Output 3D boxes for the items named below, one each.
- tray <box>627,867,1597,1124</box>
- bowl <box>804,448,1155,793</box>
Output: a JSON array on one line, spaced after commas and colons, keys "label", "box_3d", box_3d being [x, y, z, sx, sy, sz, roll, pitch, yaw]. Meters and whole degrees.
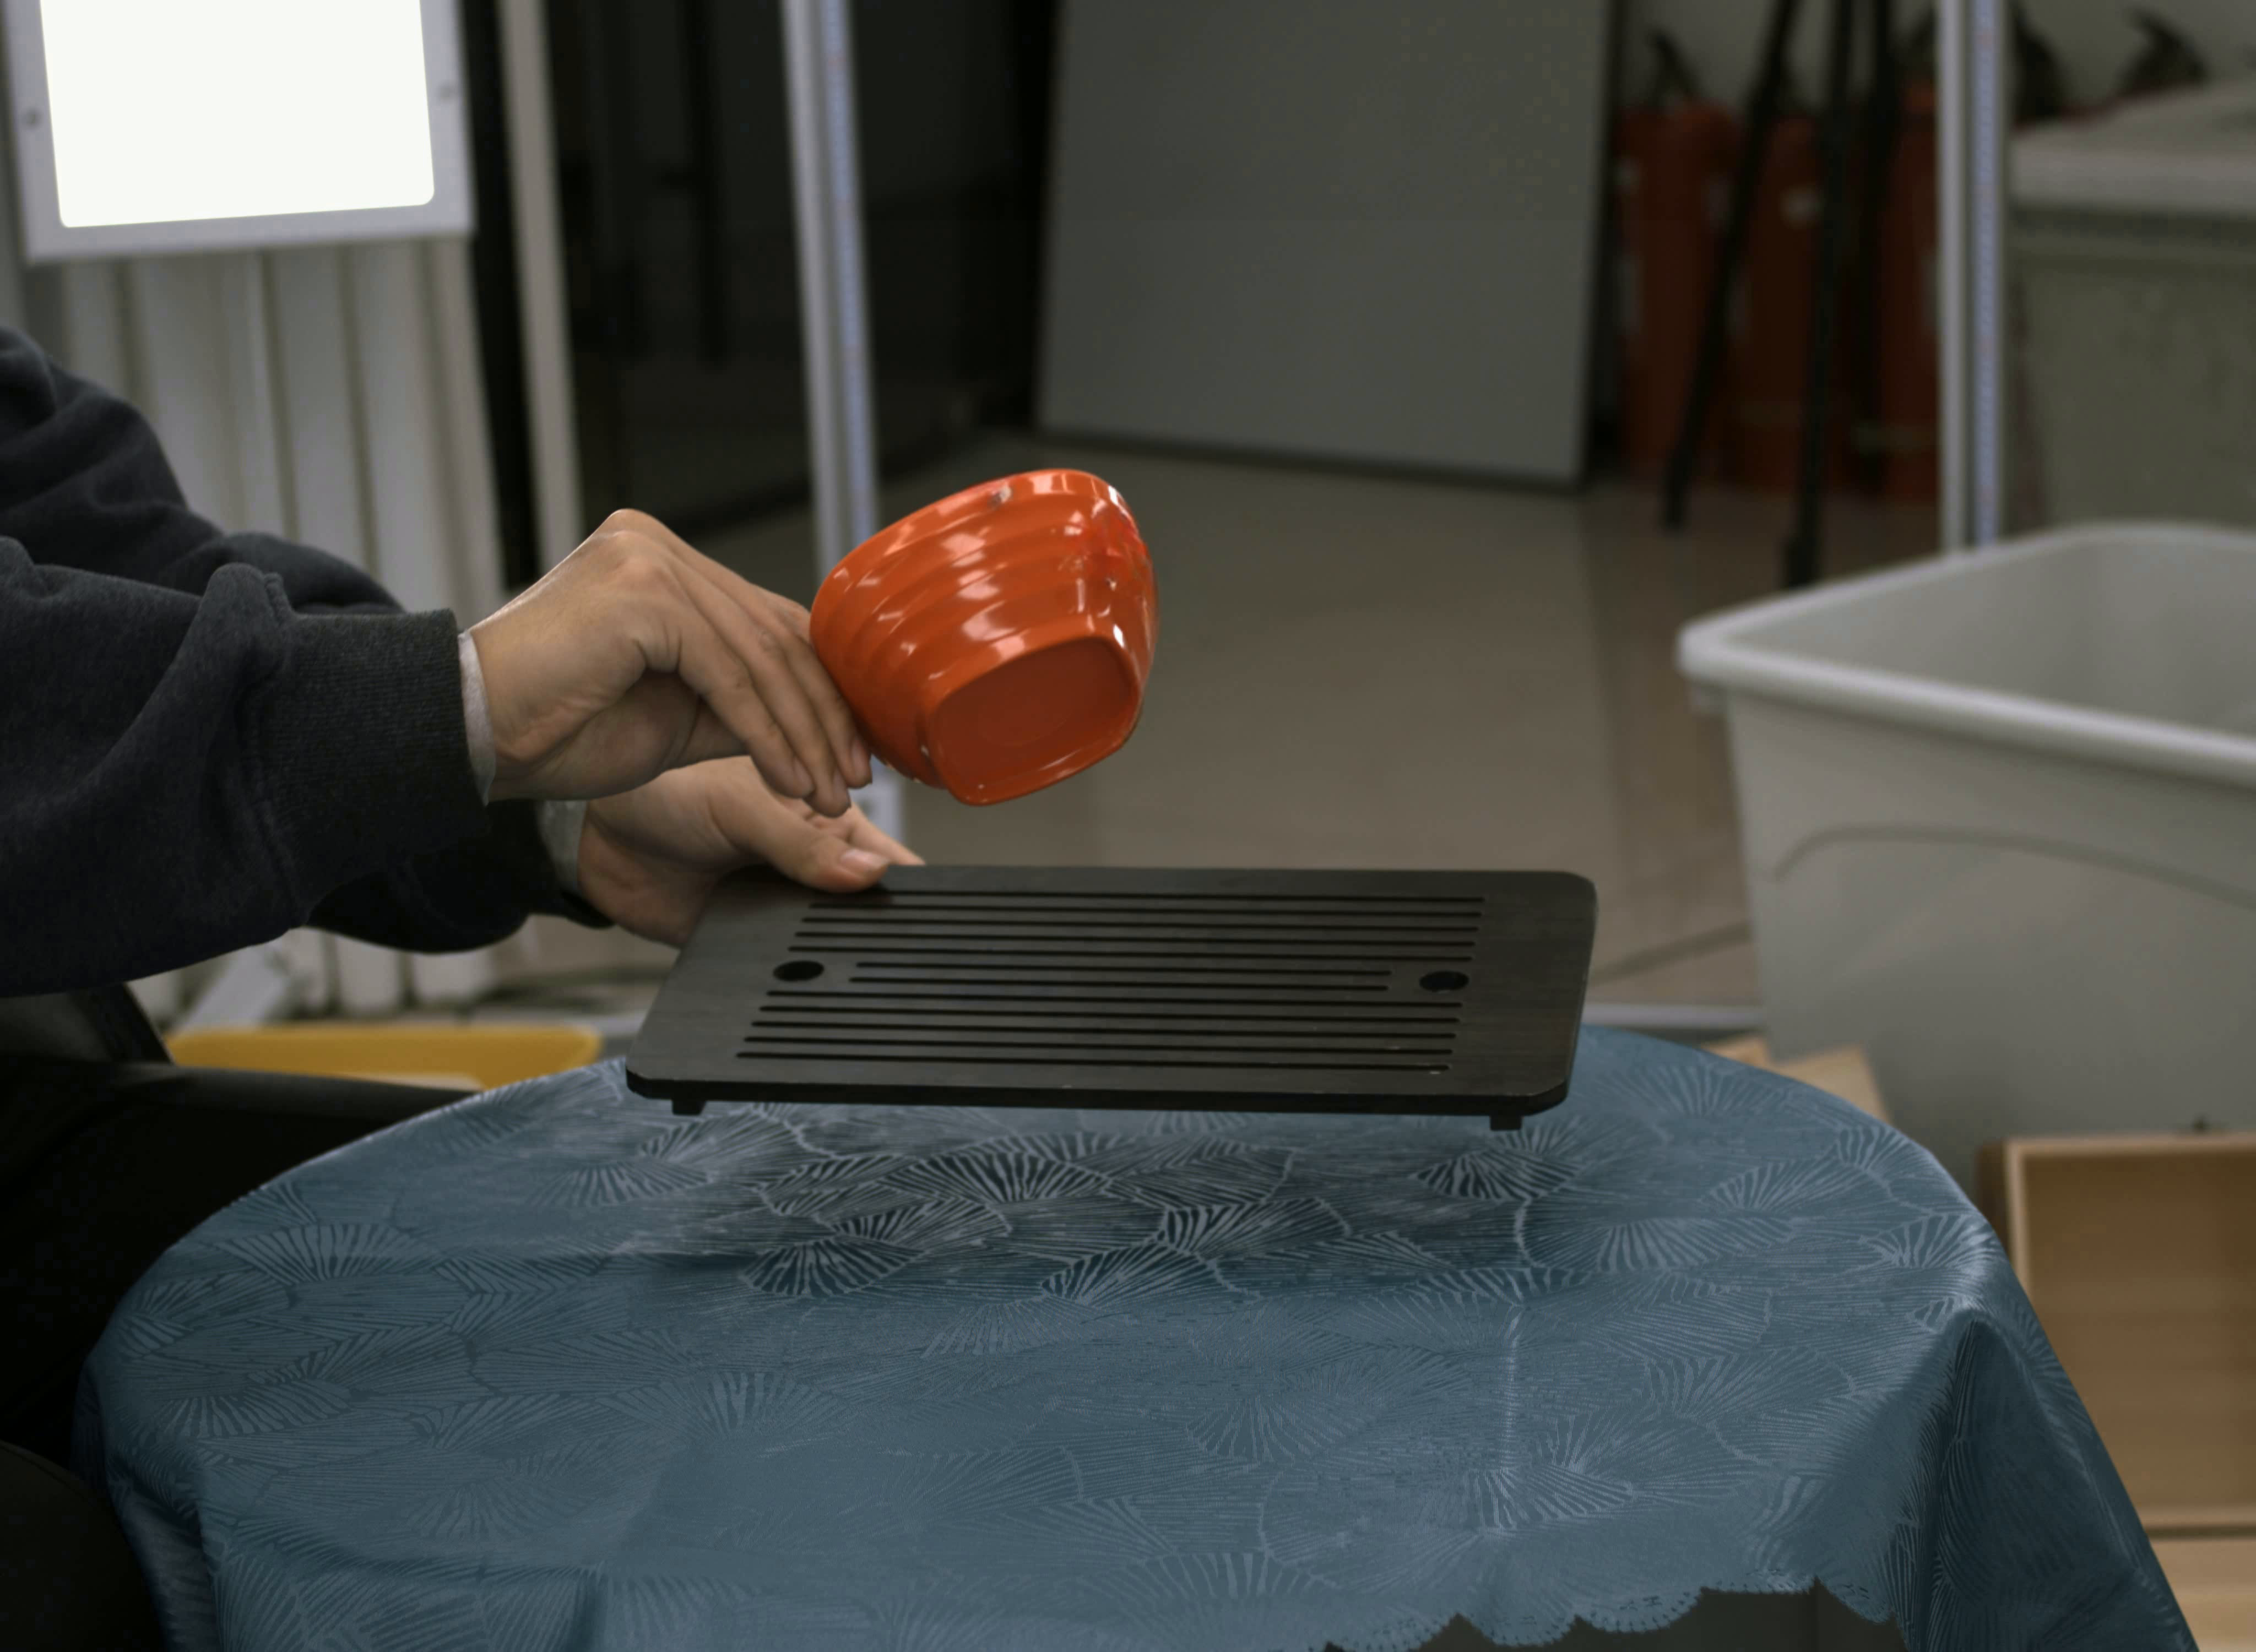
[{"label": "tray", "box_3d": [-0.001, 0.055, 1.766, 0.304, 0.019, 0.170, 0, 23, 10]}, {"label": "bowl", "box_3d": [-0.038, -0.053, 1.619, 0.116, 0.120, 0.052, -8, 52, -21]}]
